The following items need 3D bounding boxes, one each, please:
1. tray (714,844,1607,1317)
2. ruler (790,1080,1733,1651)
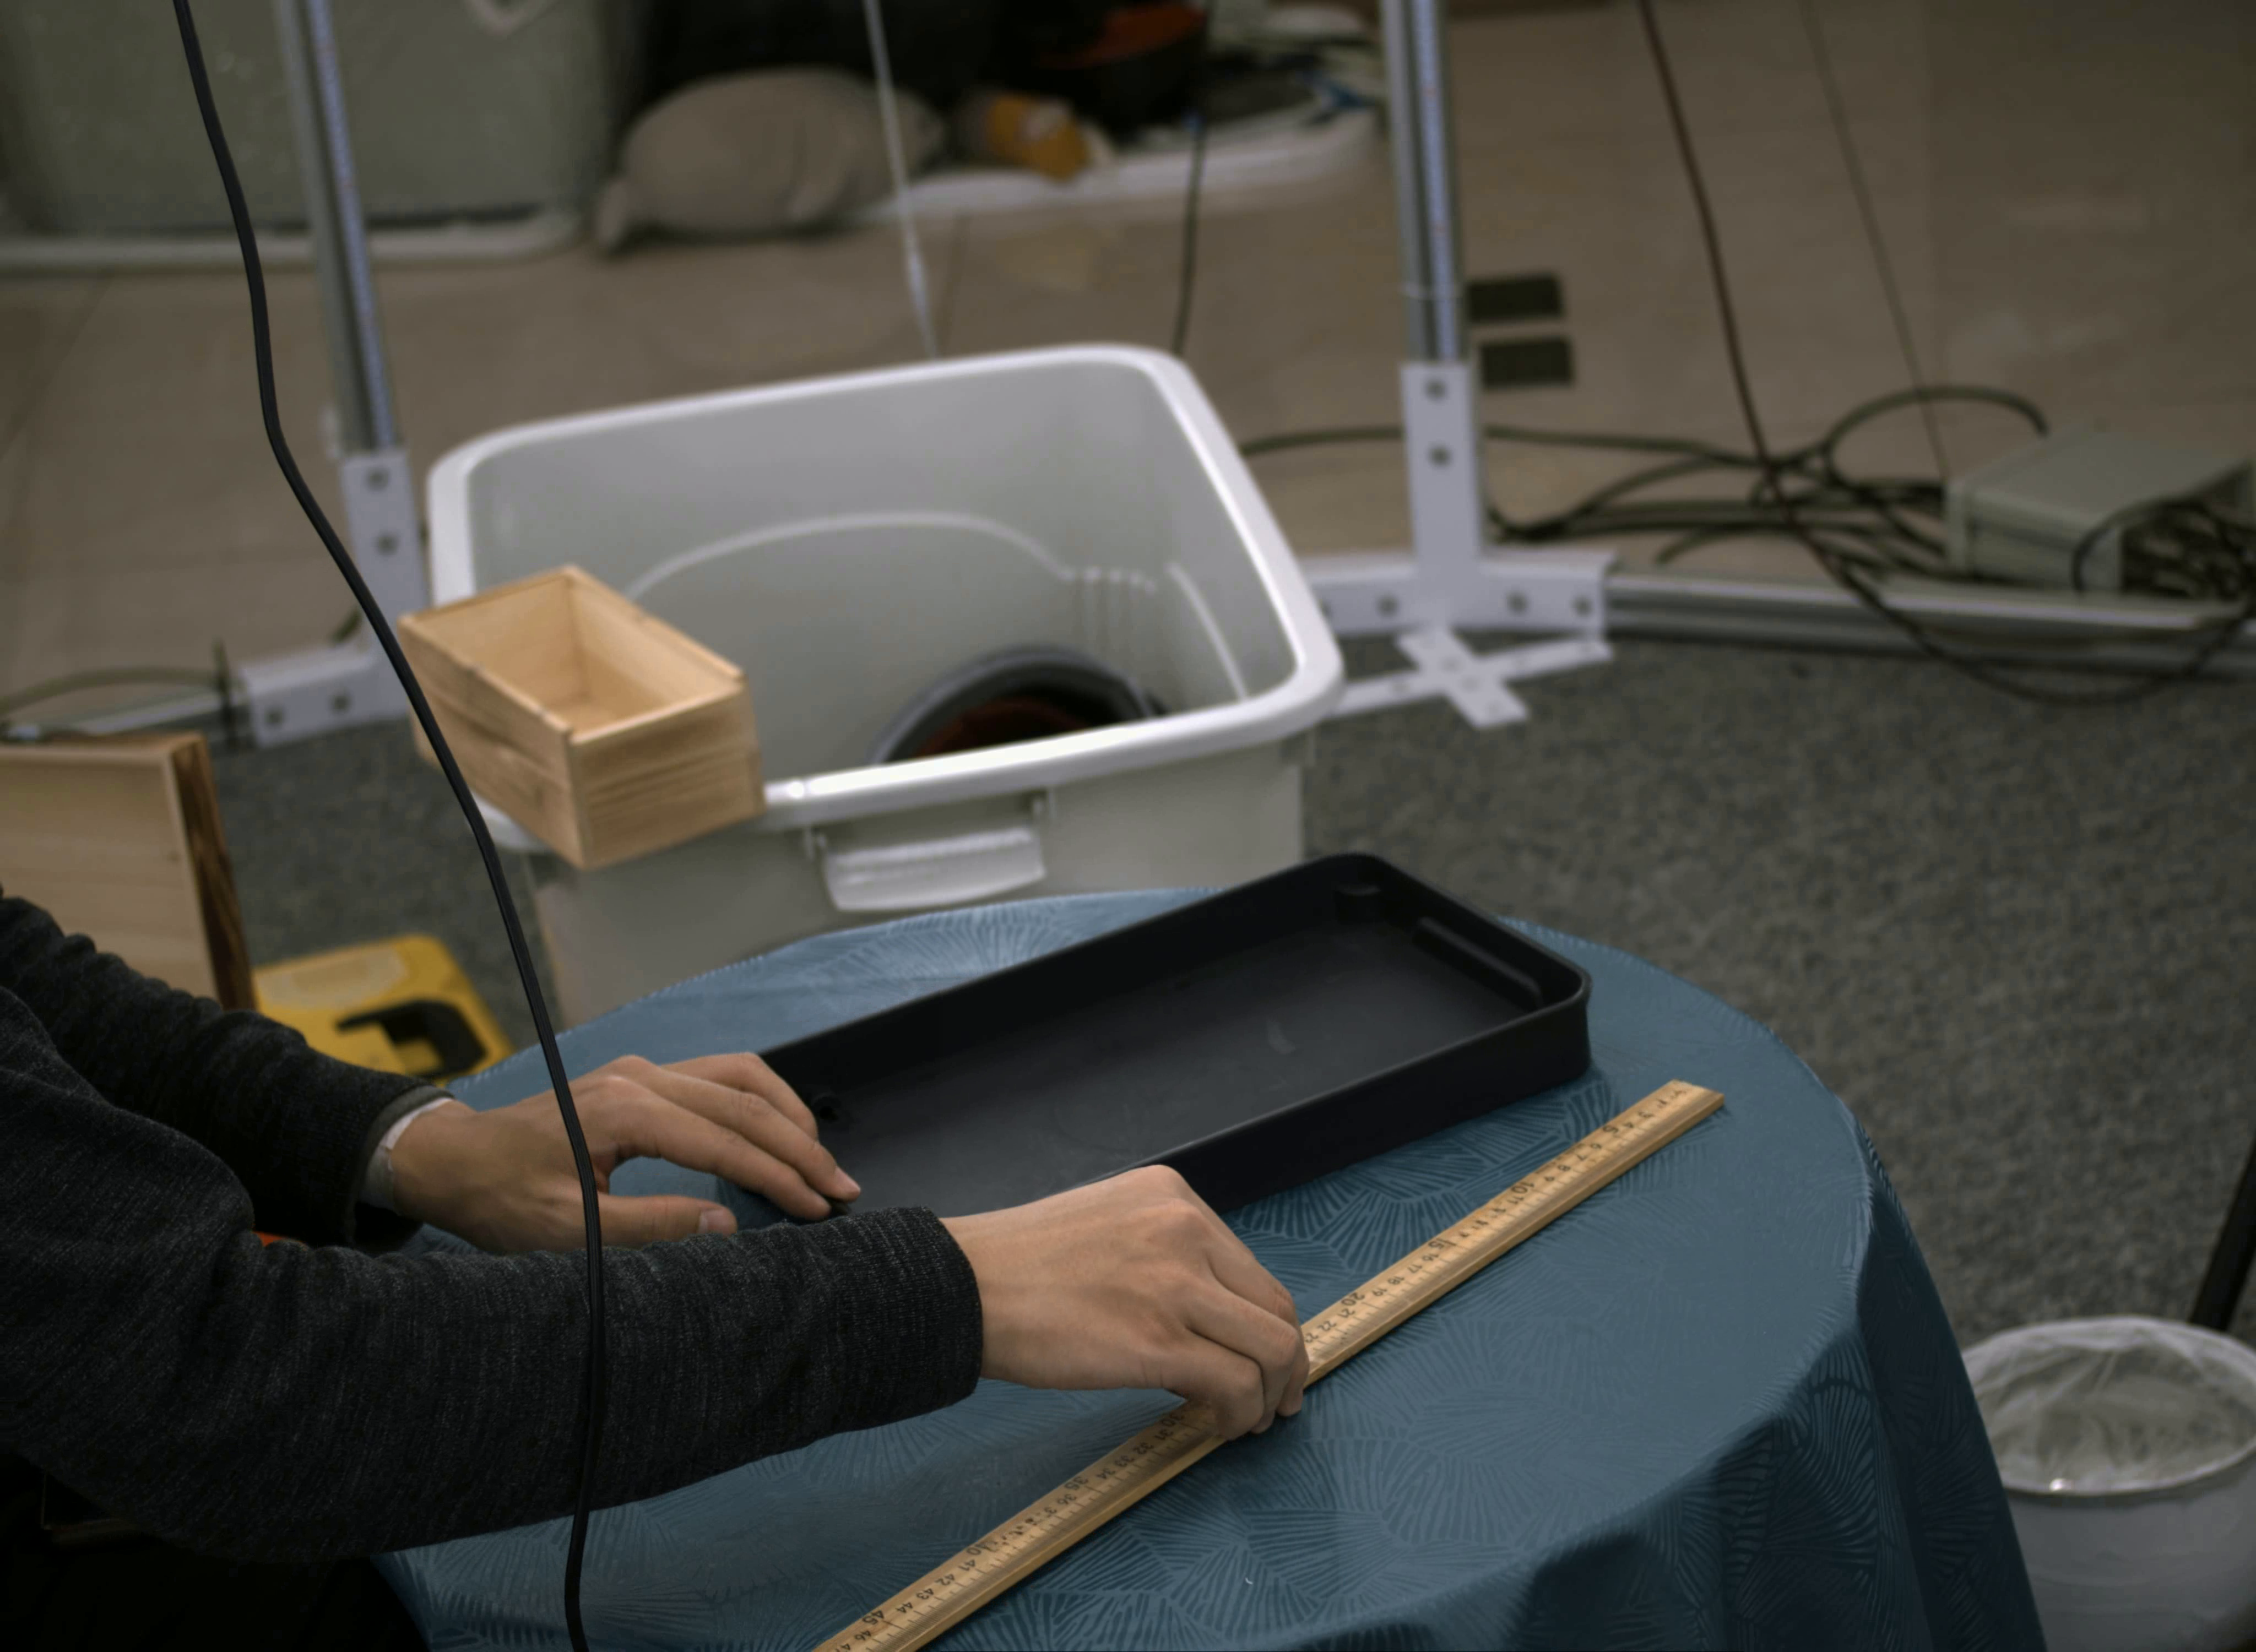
[{"bbox_3d":[0.014,0.094,2.199,0.316,0.037,0.182,-20,28,-25],"label":"tray"},{"bbox_3d":[0.054,0.191,2.009,0.026,0.006,0.496,23,37,36],"label":"ruler"}]
